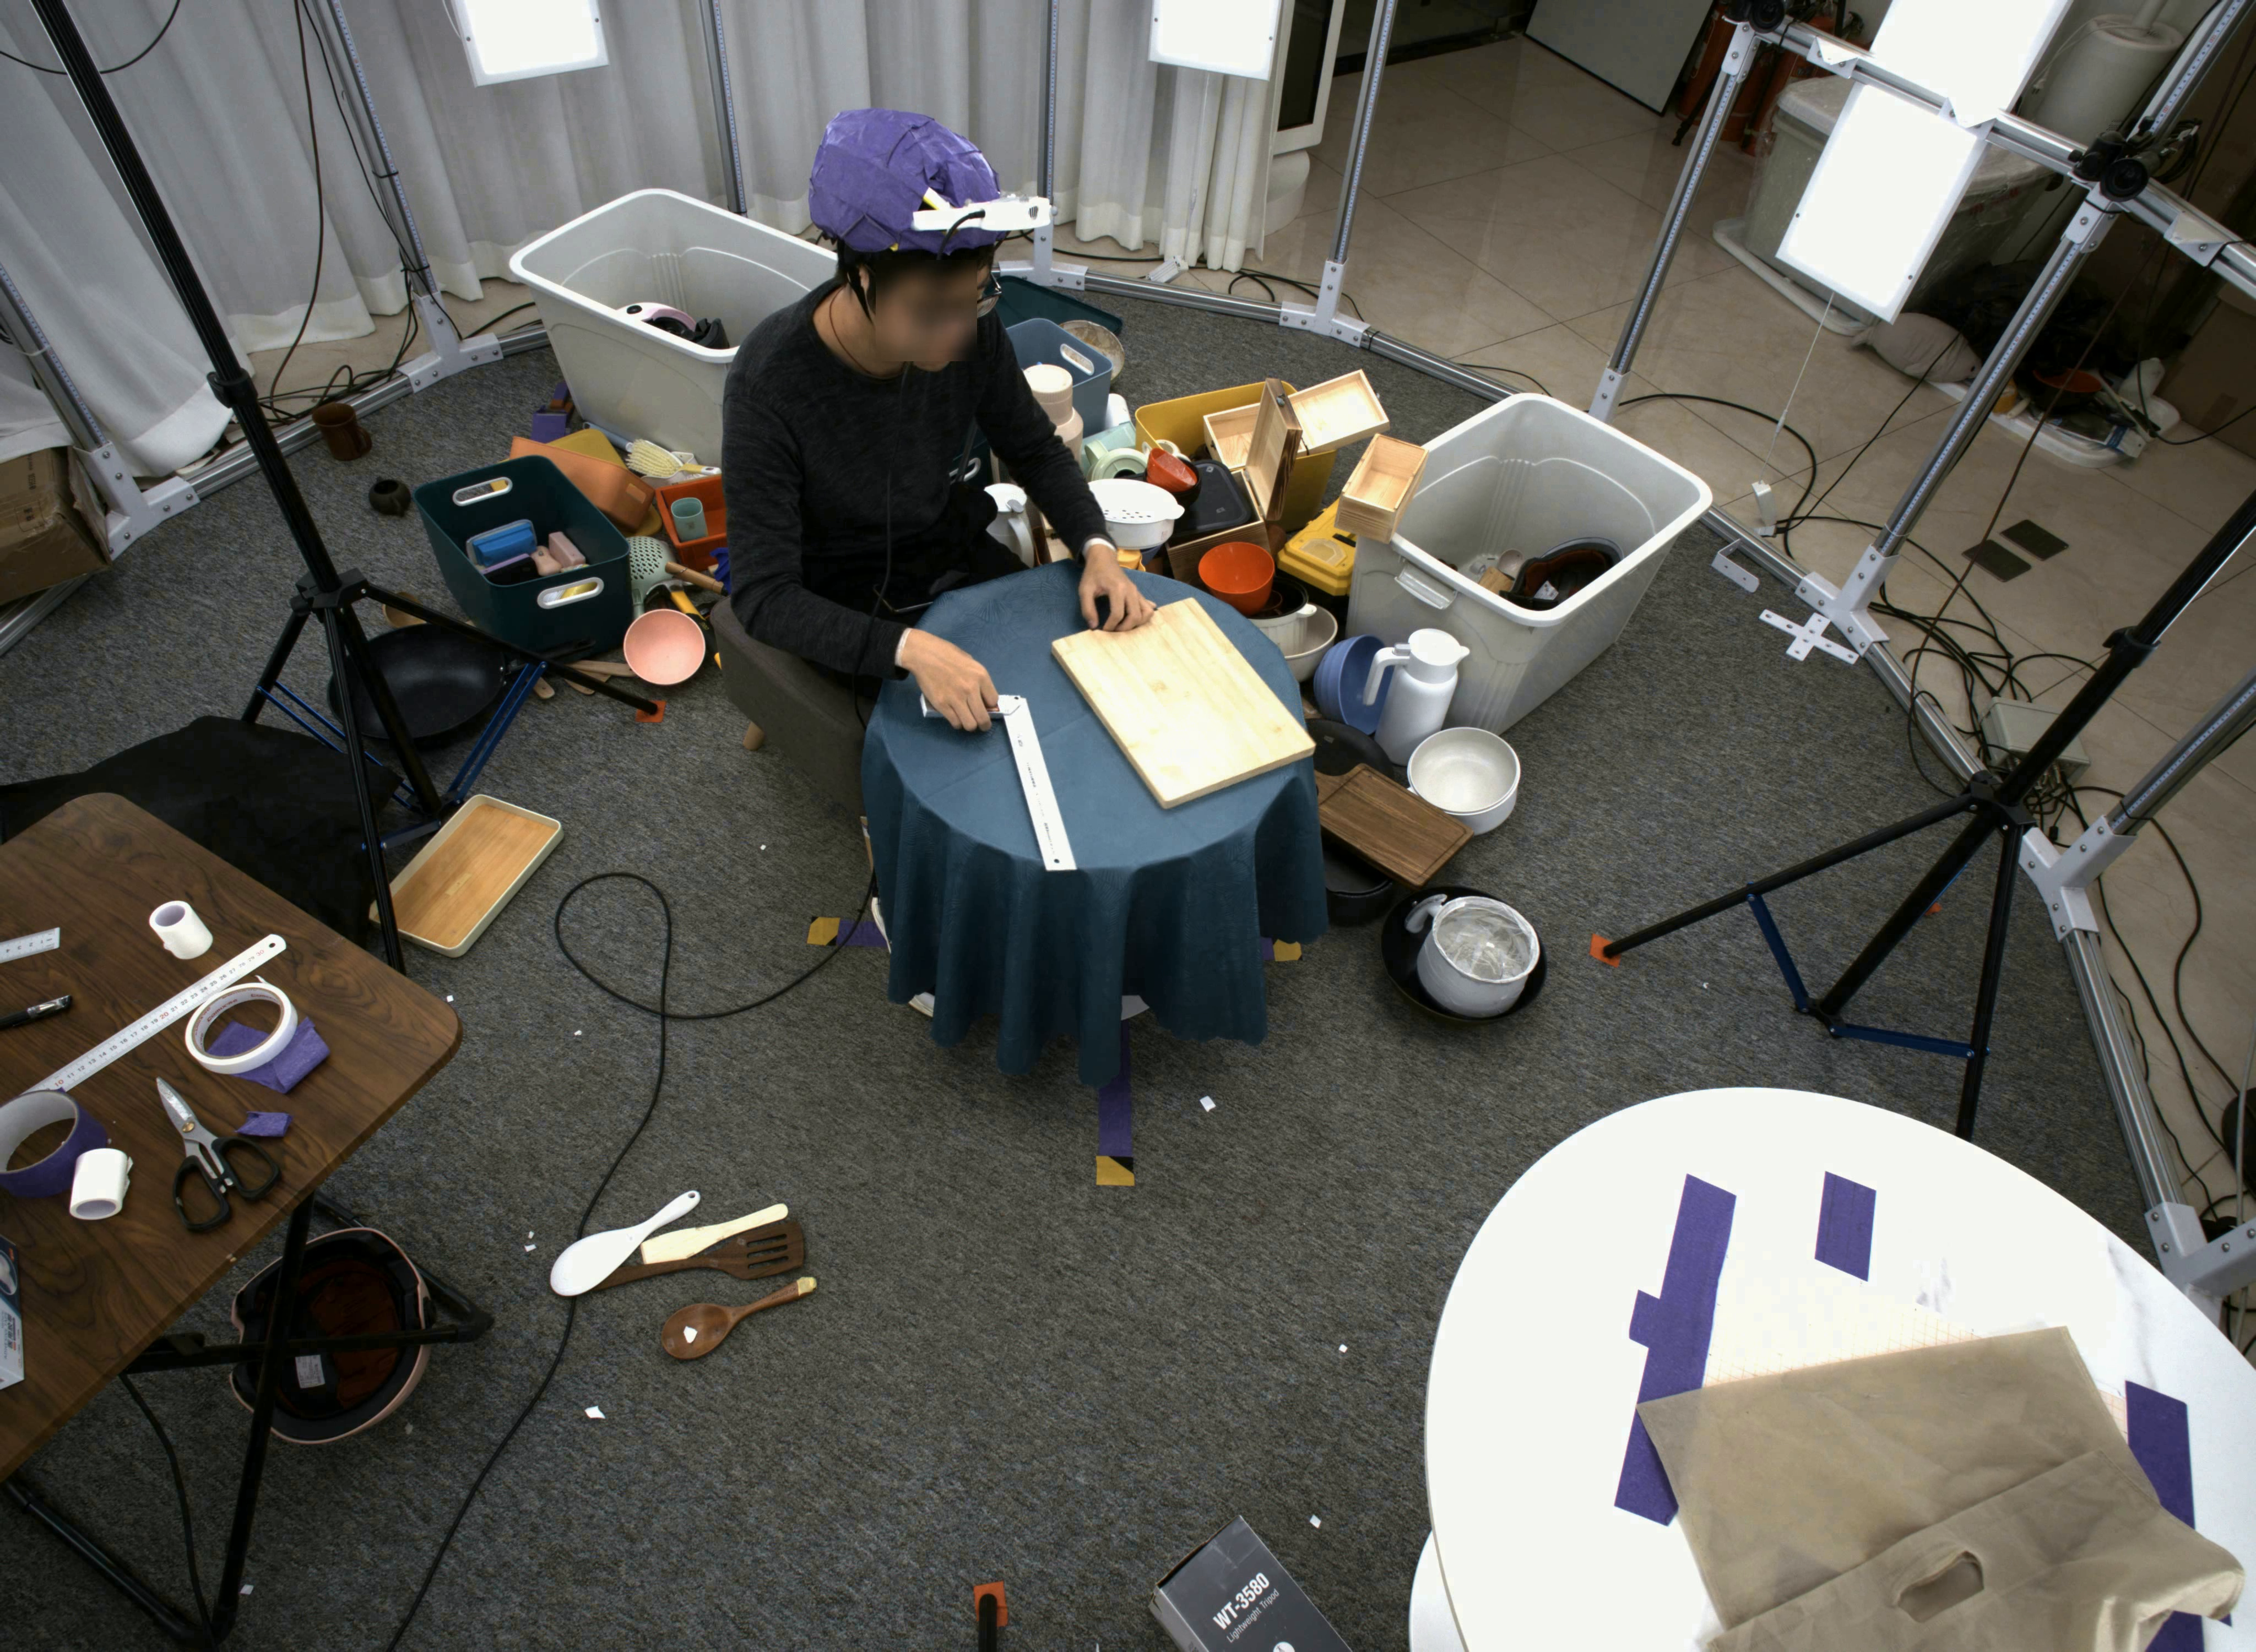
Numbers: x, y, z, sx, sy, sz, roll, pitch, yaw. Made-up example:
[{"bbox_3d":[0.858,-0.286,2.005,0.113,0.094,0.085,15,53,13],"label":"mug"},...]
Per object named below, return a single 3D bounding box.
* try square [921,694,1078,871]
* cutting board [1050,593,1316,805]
[{"bbox_3d":[-0.173,-0.062,1.690,0.152,0.015,0.320,-2,49,-20],"label":"try square"},{"bbox_3d":[0.072,-0.189,1.828,0.251,0.023,0.356,-22,54,-21],"label":"cutting board"}]
